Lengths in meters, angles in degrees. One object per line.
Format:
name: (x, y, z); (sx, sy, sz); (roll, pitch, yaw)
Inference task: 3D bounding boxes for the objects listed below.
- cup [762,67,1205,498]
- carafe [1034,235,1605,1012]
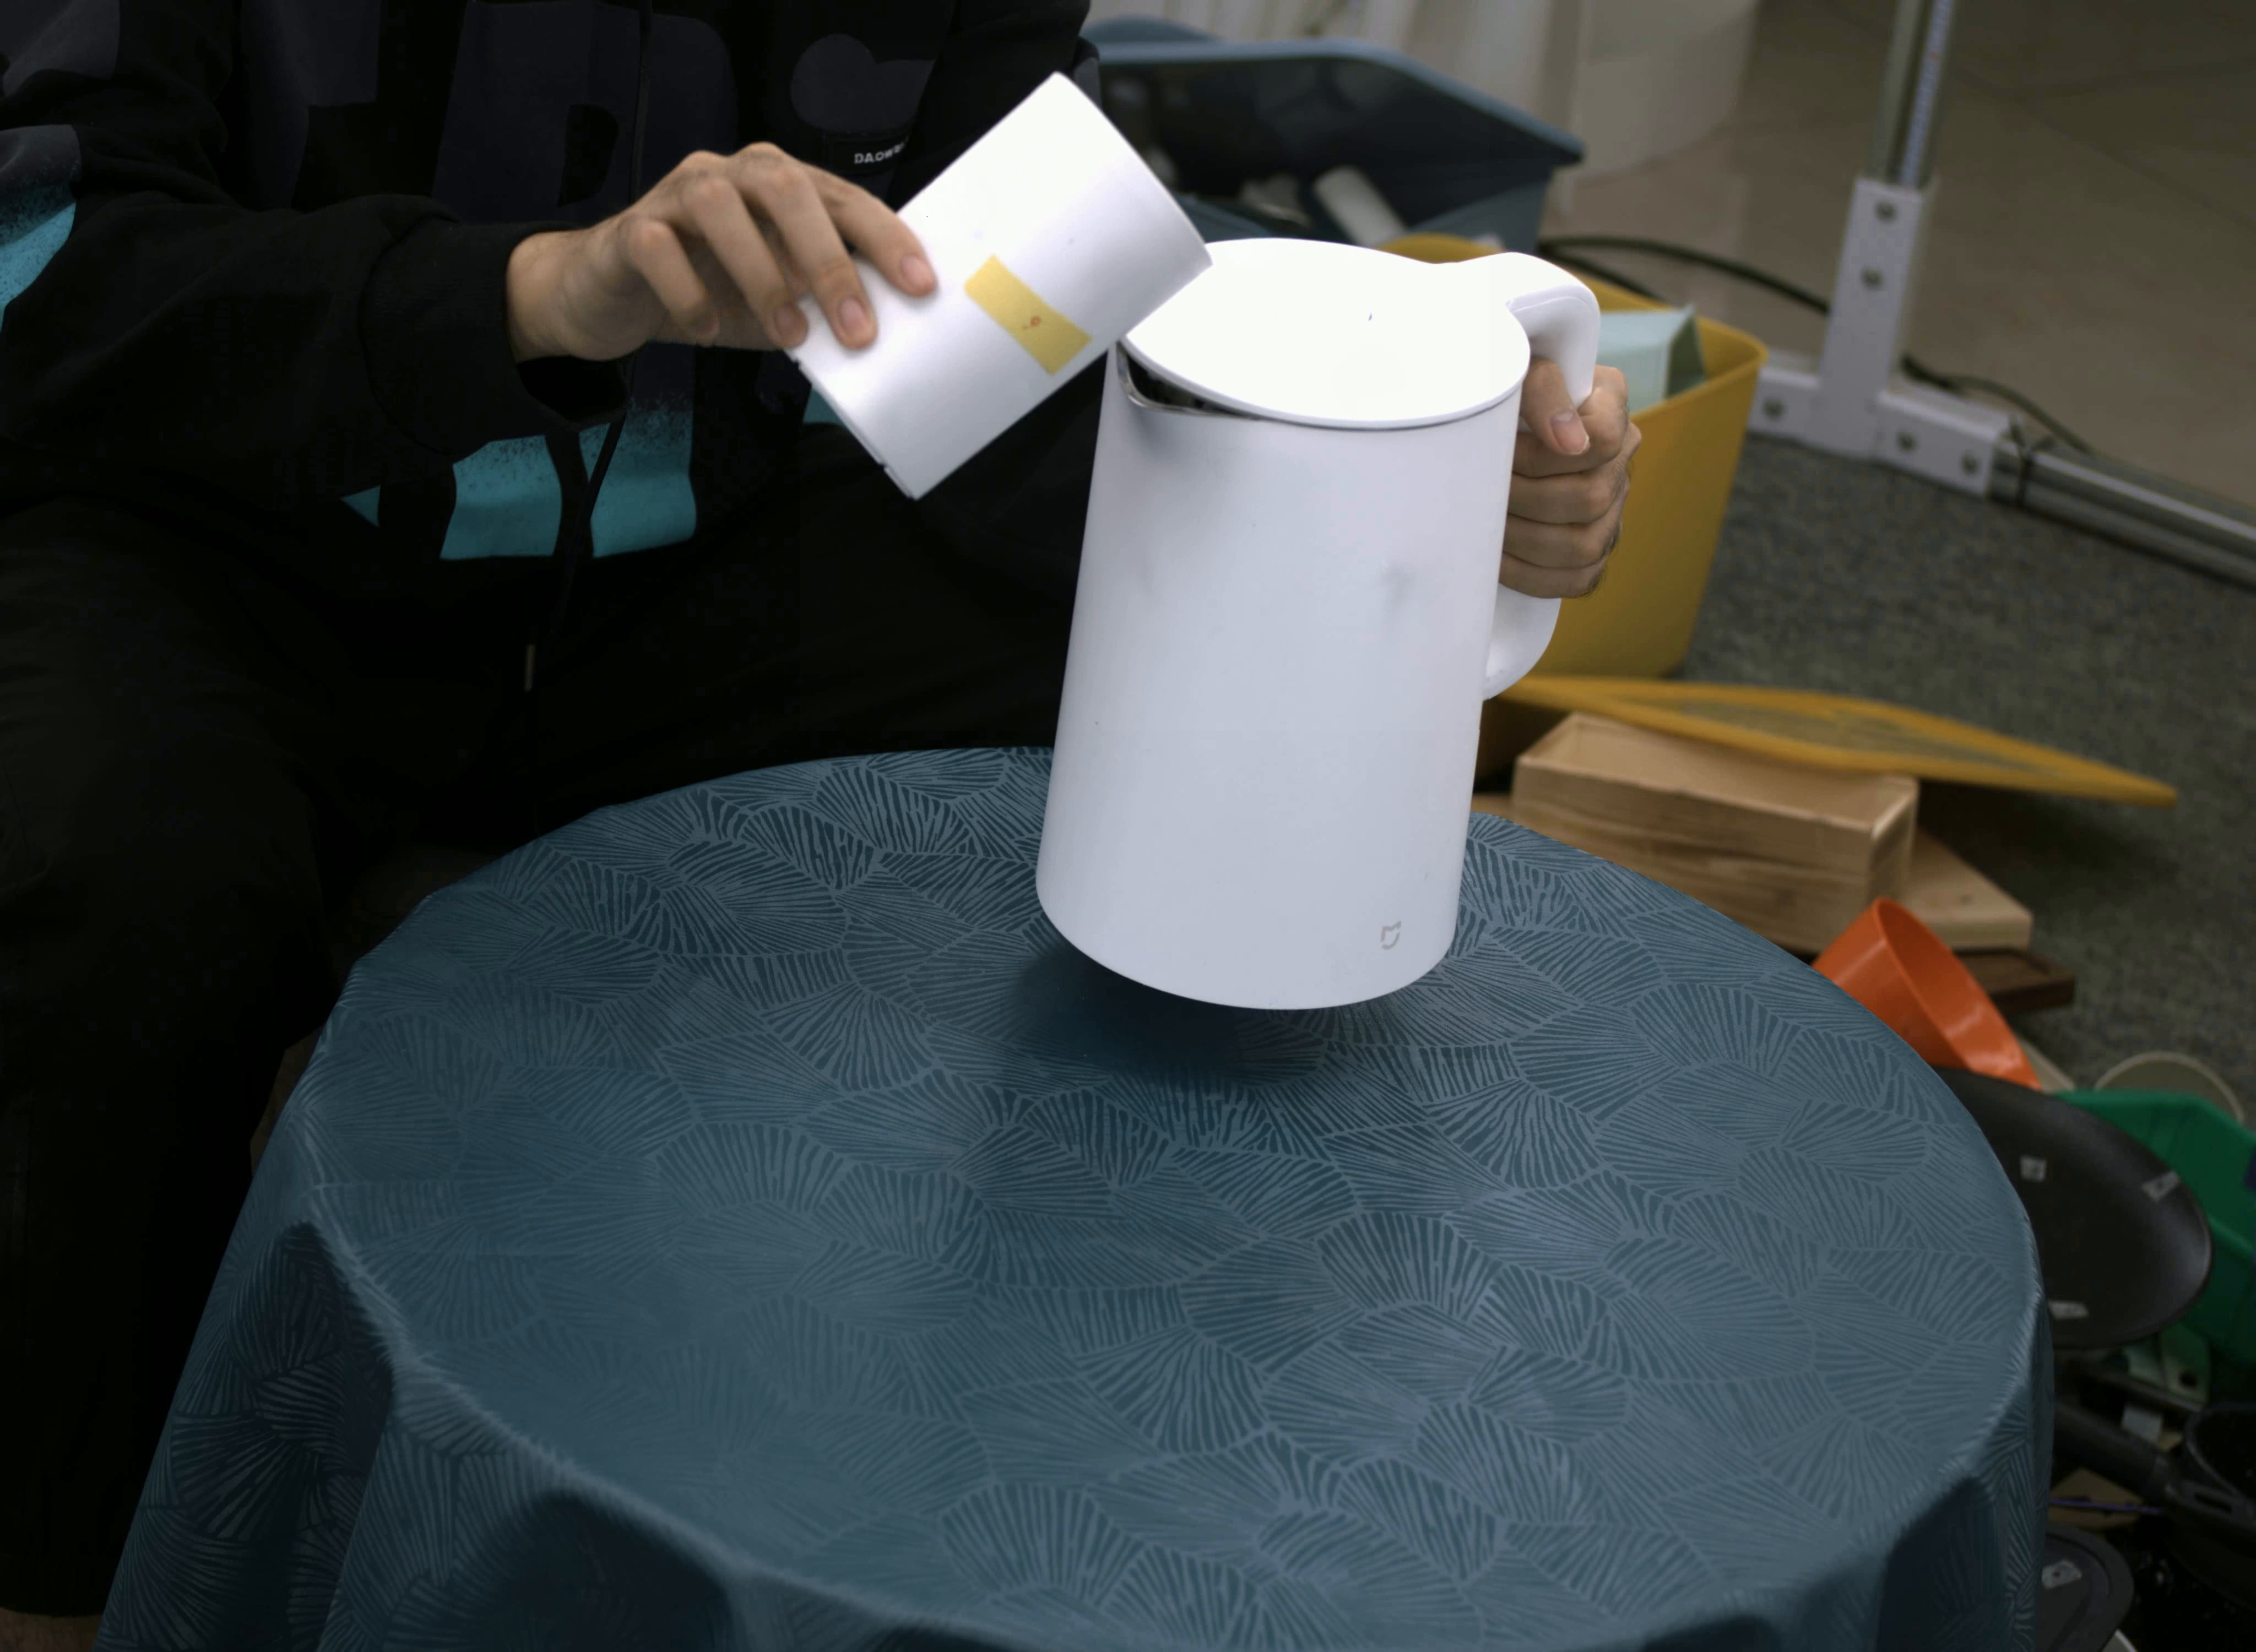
cup: (-0.048, -0.172, 1.715); (0.125, 0.081, 0.082); (-41, 37, -1)
carafe: (0.074, -0.078, 1.873); (0.212, 0.239, 0.153); (-19, 38, -37)
